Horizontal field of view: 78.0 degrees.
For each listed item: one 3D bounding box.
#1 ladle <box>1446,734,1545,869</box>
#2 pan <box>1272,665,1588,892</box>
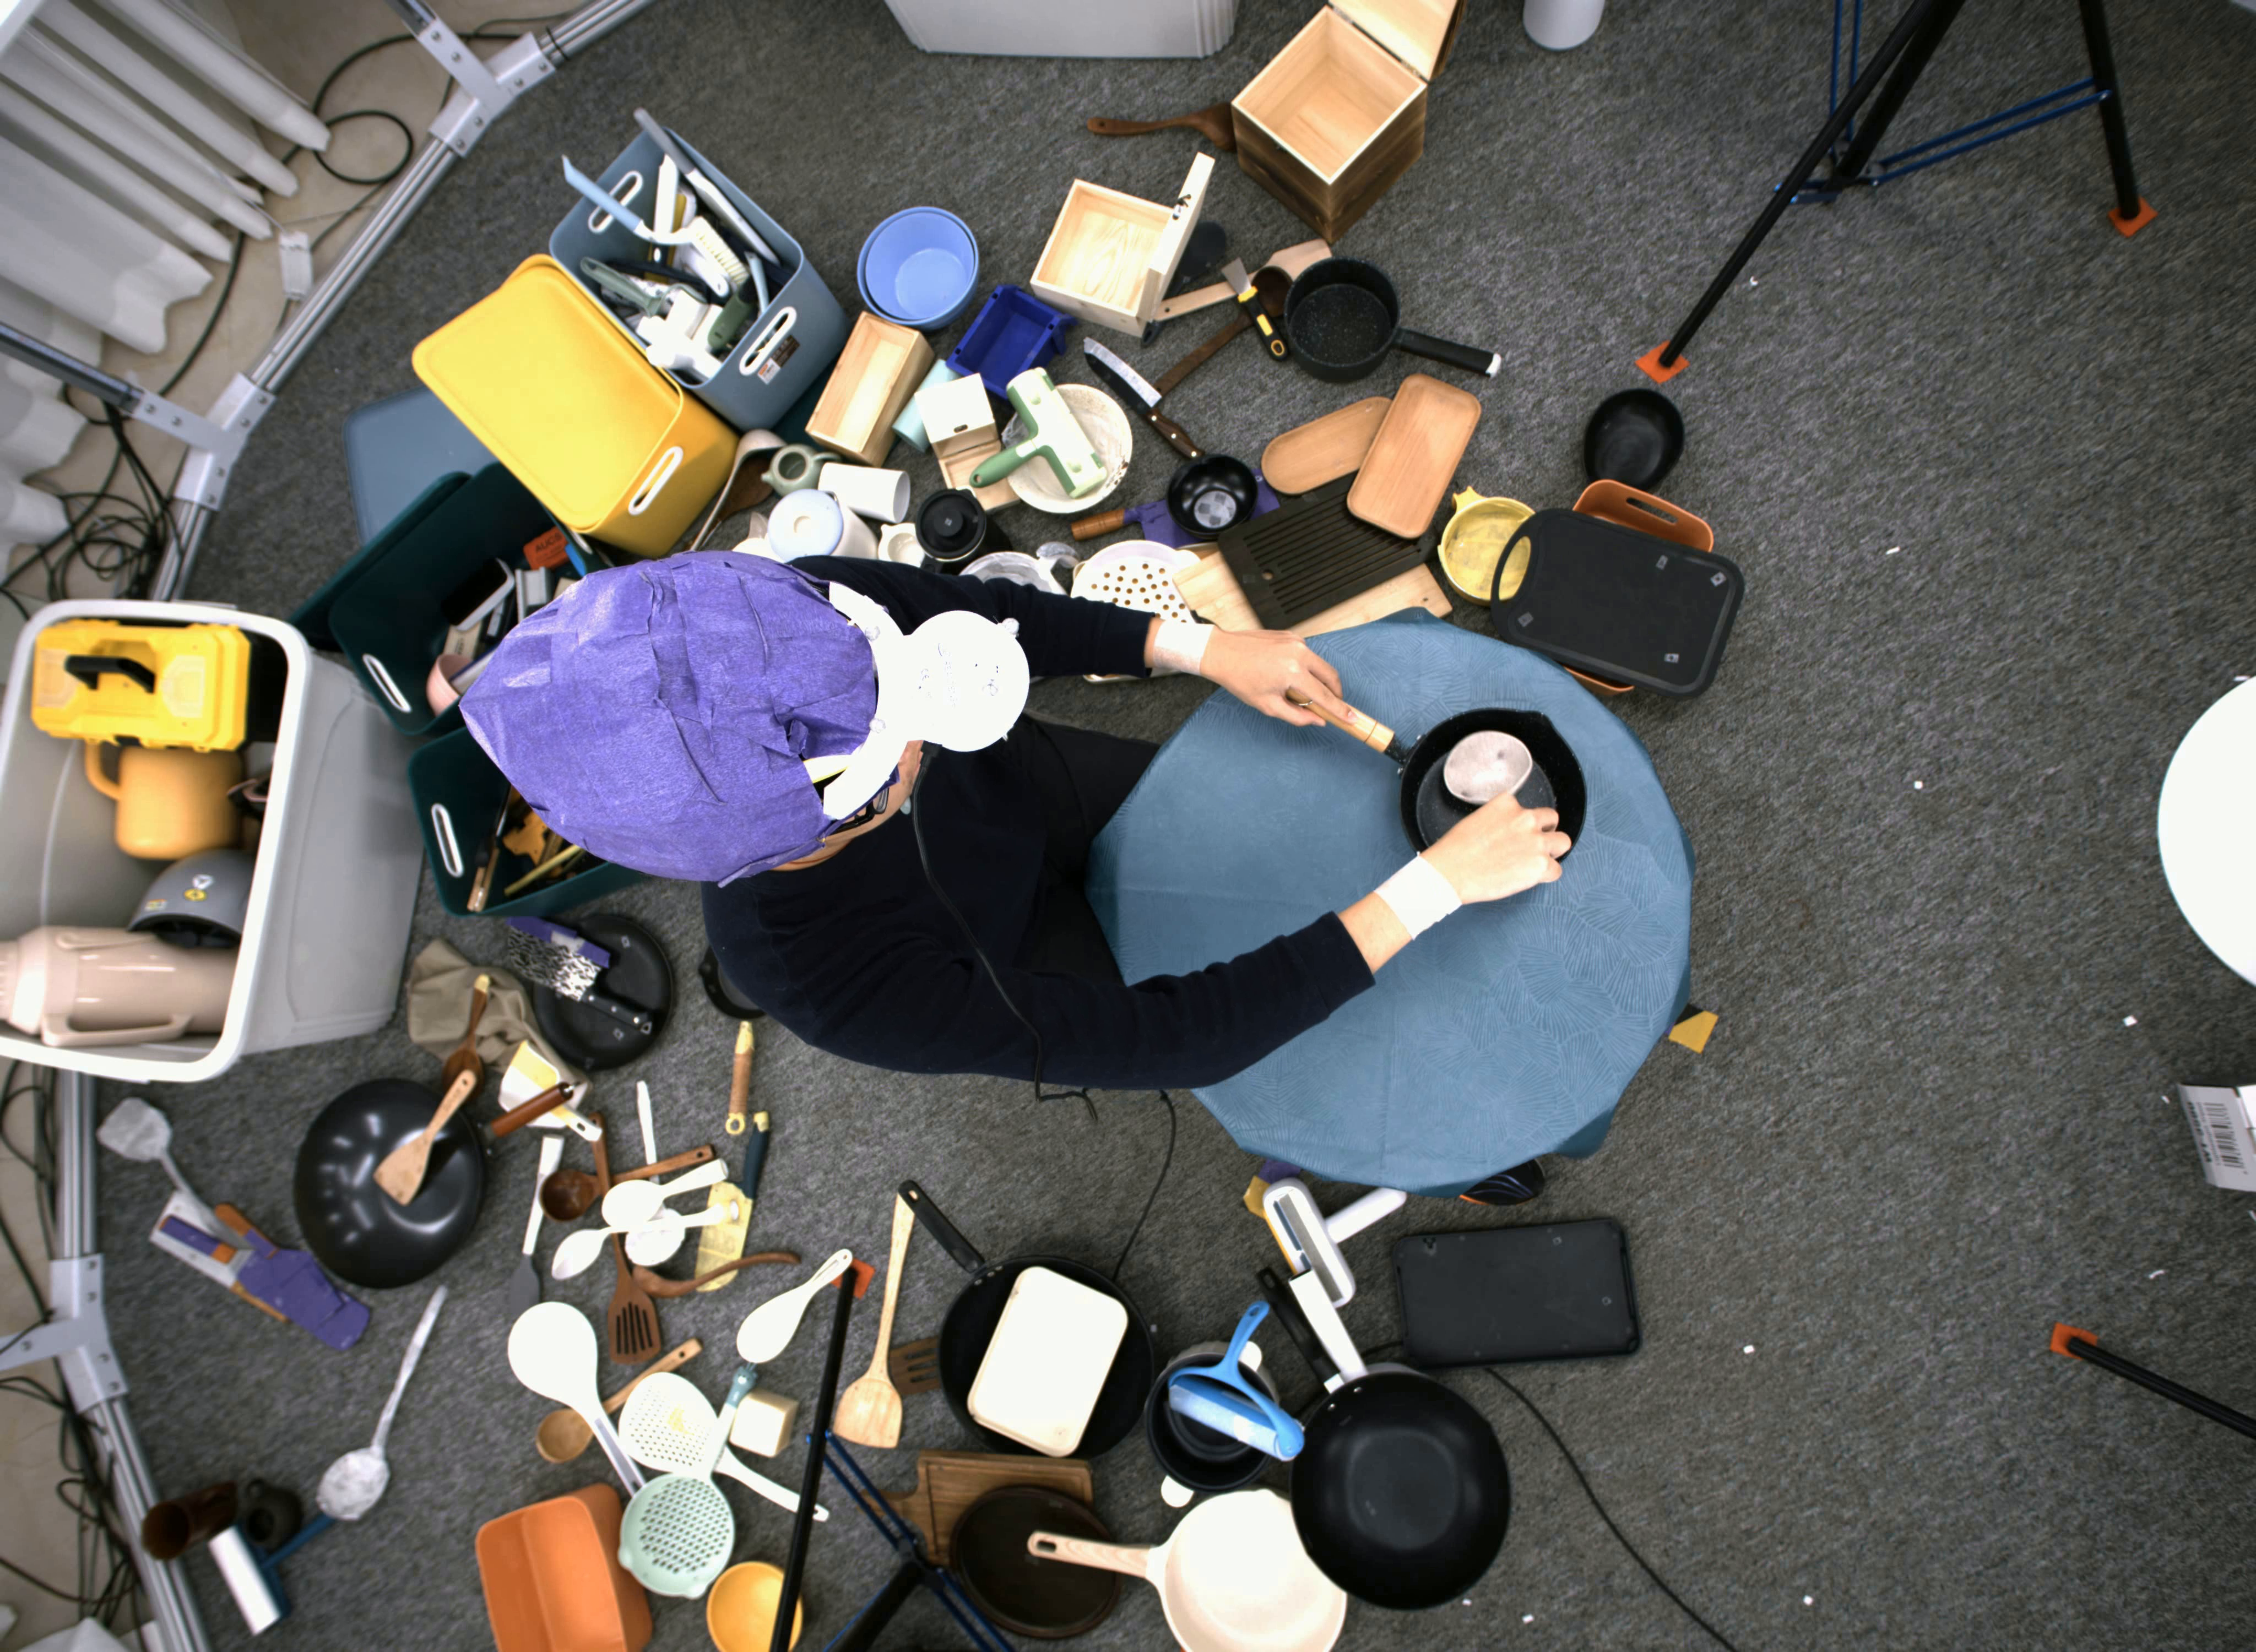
[{"bbox_3d":[0.356,-0.030,1.296,0.090,0.270,0.070,-17,102,11],"label":"ladle"},{"bbox_3d":[0.299,-0.064,1.407,0.342,0.108,0.208,29,93,9],"label":"pan"}]
